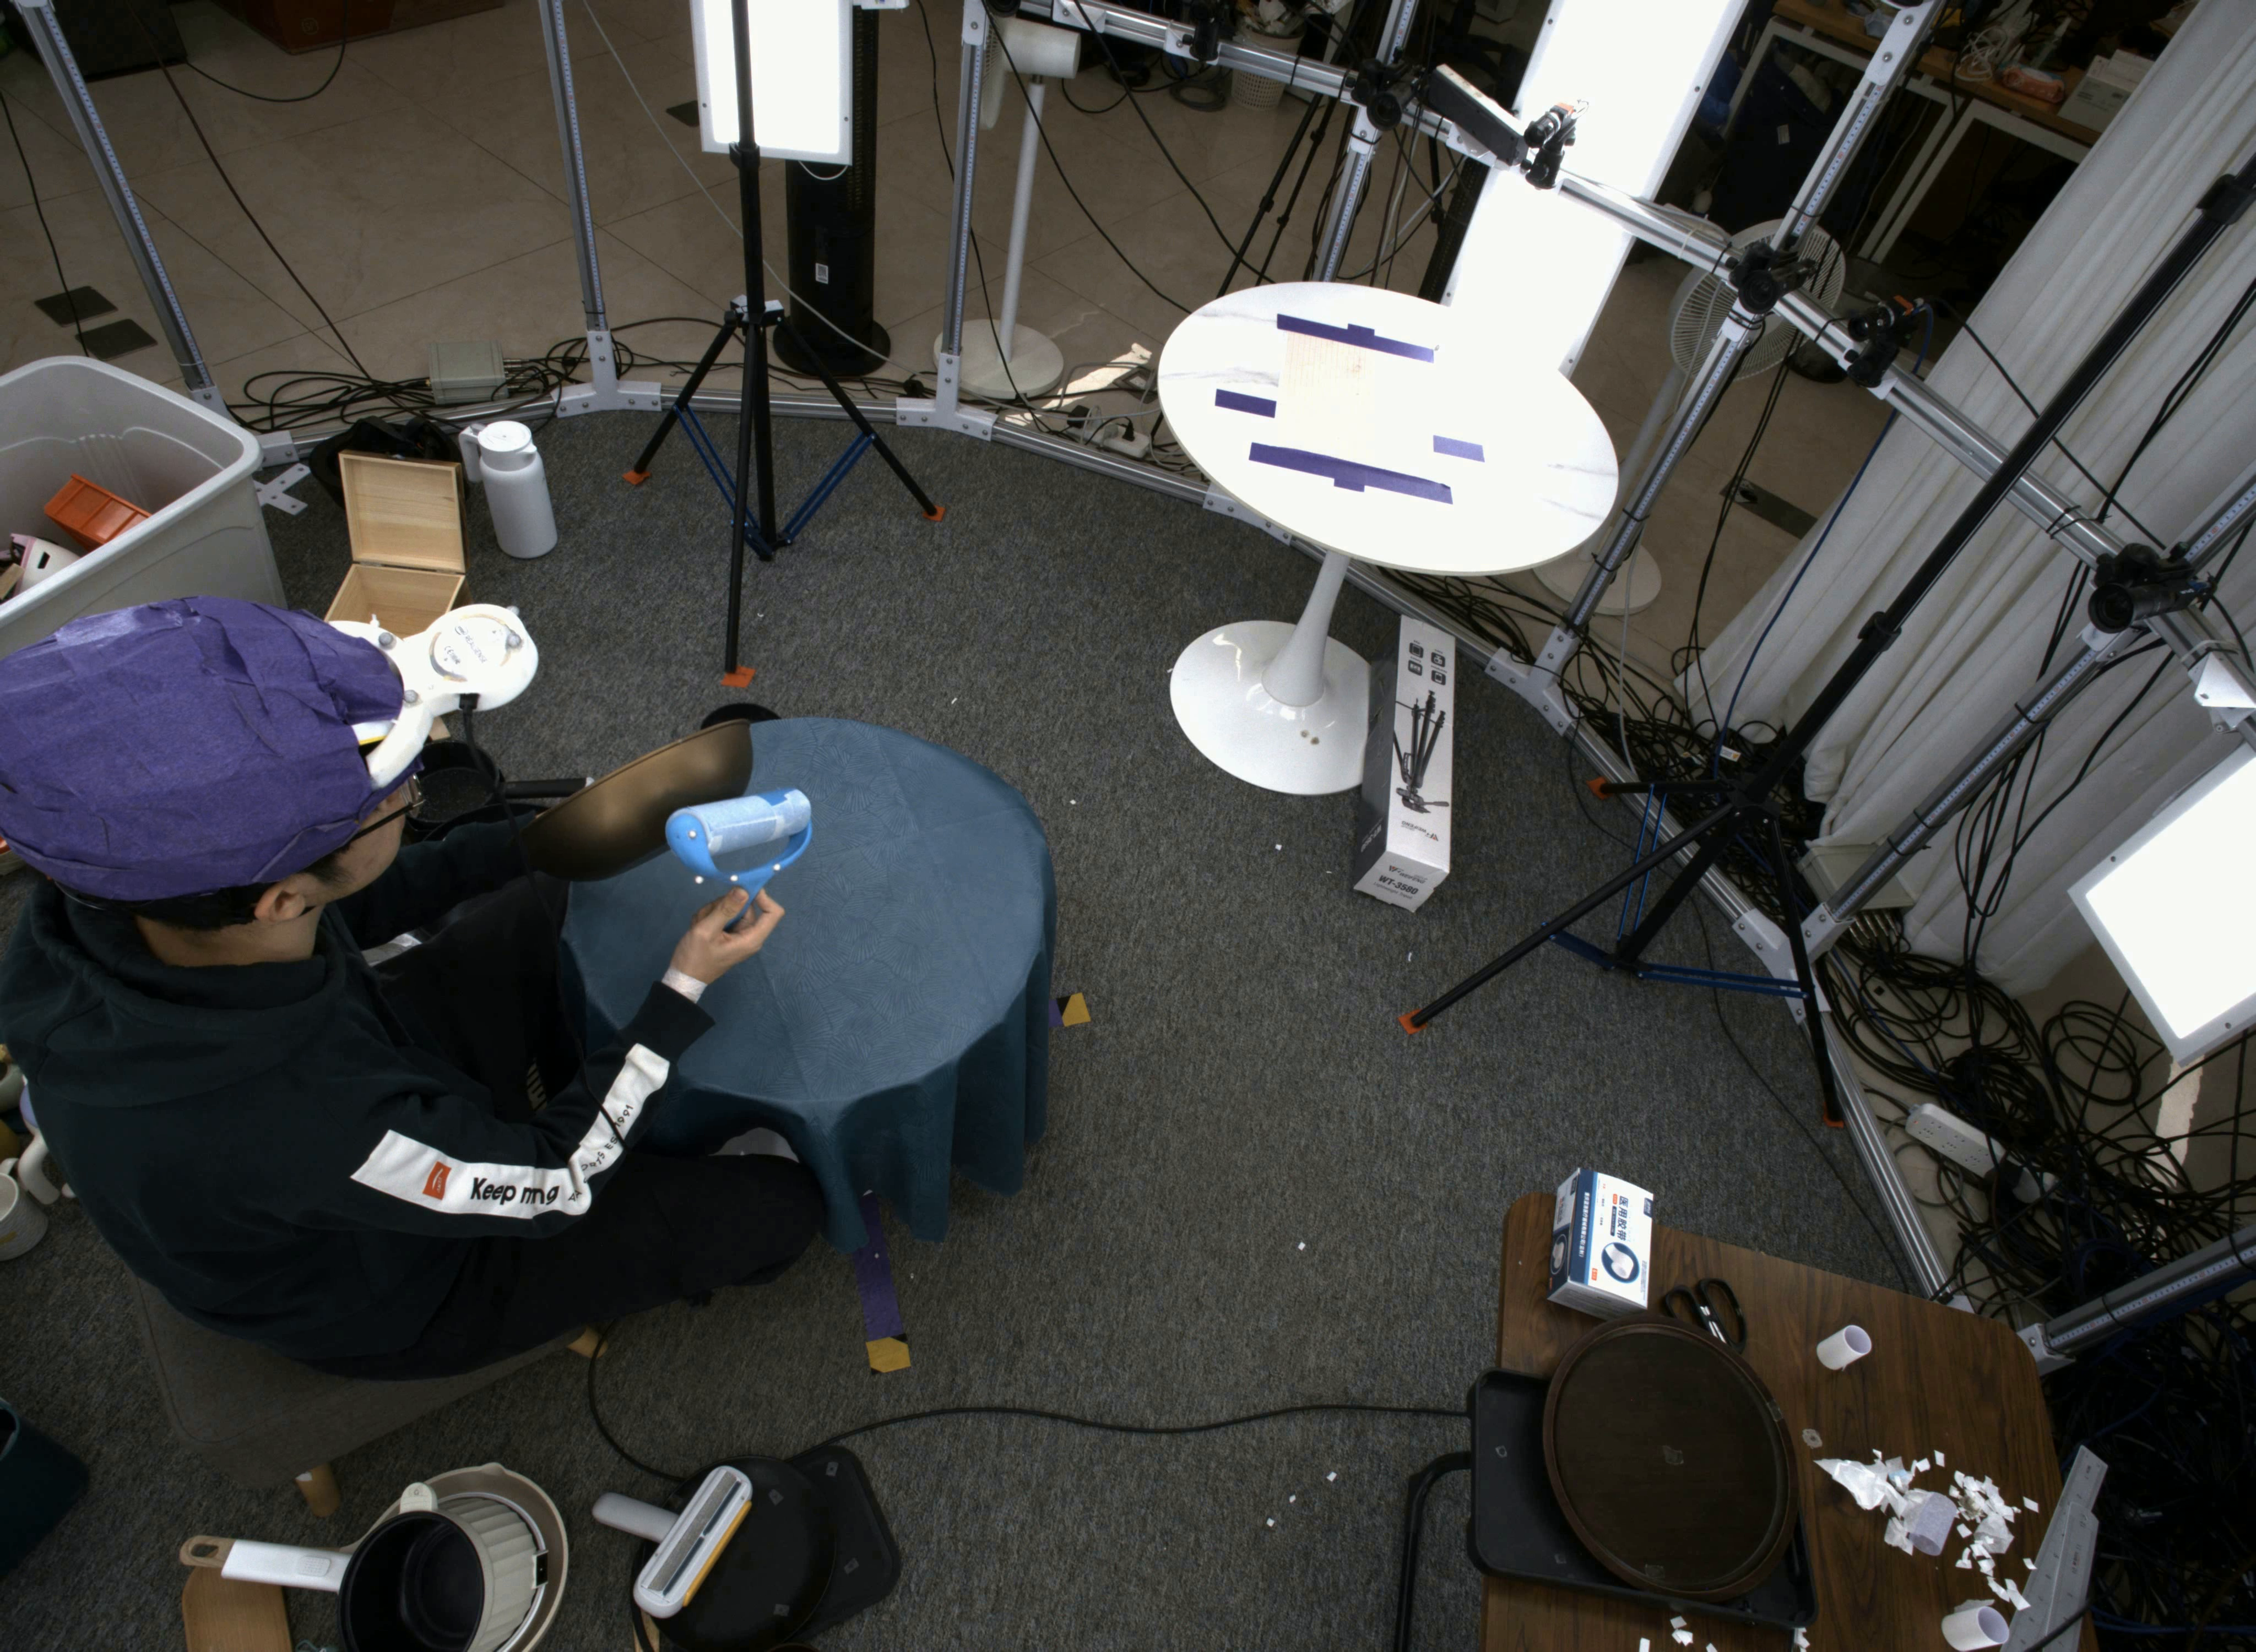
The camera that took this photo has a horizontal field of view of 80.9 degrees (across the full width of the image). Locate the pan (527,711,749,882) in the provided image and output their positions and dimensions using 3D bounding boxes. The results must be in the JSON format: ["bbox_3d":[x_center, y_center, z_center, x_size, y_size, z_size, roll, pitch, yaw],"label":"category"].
[{"bbox_3d":[-0.568,0.006,1.438,0.289,0.455,0.088,-32,94,-39],"label":"pan"}]

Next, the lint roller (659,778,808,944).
[{"bbox_3d":[-0.420,0.044,1.360,0.066,0.184,0.229,17,16,13],"label":"lint roller"}]
